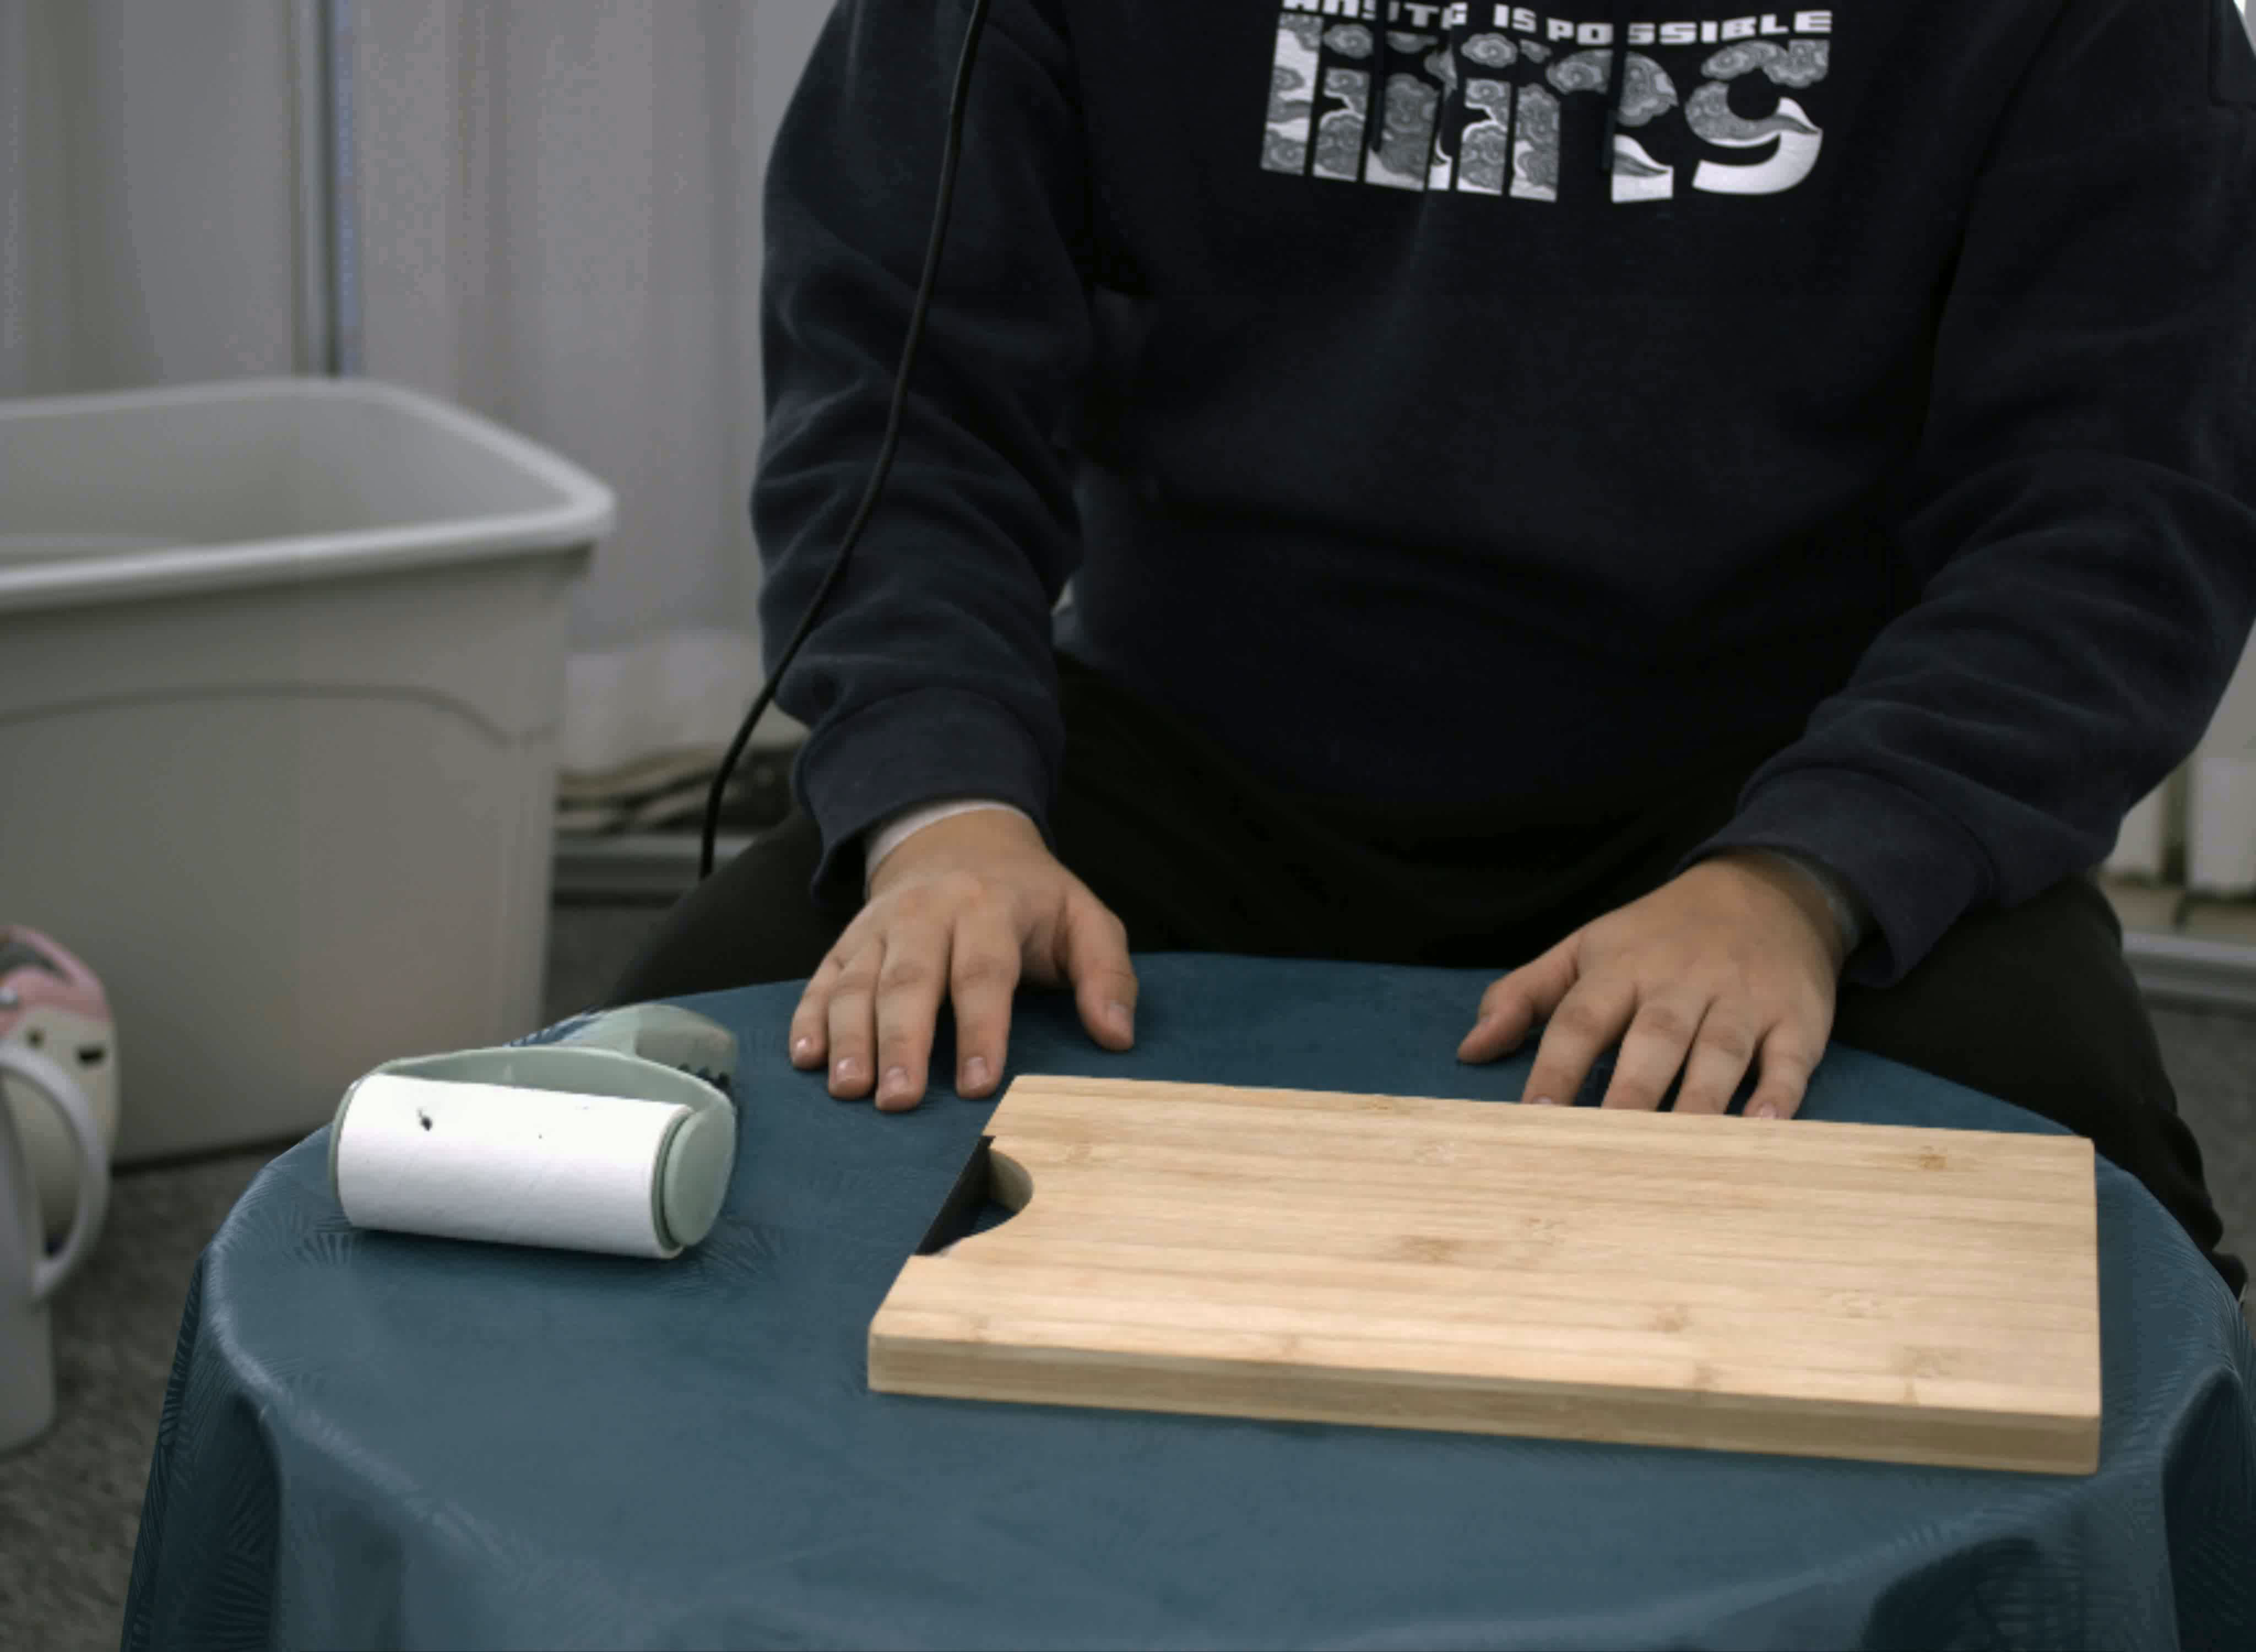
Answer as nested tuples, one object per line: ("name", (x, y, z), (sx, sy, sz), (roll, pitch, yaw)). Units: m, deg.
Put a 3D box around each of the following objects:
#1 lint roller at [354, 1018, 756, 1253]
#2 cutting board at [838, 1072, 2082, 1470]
("lint roller", (-0.154, 0.086, 1.636), (0.116, 0.049, 0.197), (2, 13, 15))
("cutting board", (0.108, 0.127, 1.550), (0.346, 0.024, 0.250), (3, 15, 7))
